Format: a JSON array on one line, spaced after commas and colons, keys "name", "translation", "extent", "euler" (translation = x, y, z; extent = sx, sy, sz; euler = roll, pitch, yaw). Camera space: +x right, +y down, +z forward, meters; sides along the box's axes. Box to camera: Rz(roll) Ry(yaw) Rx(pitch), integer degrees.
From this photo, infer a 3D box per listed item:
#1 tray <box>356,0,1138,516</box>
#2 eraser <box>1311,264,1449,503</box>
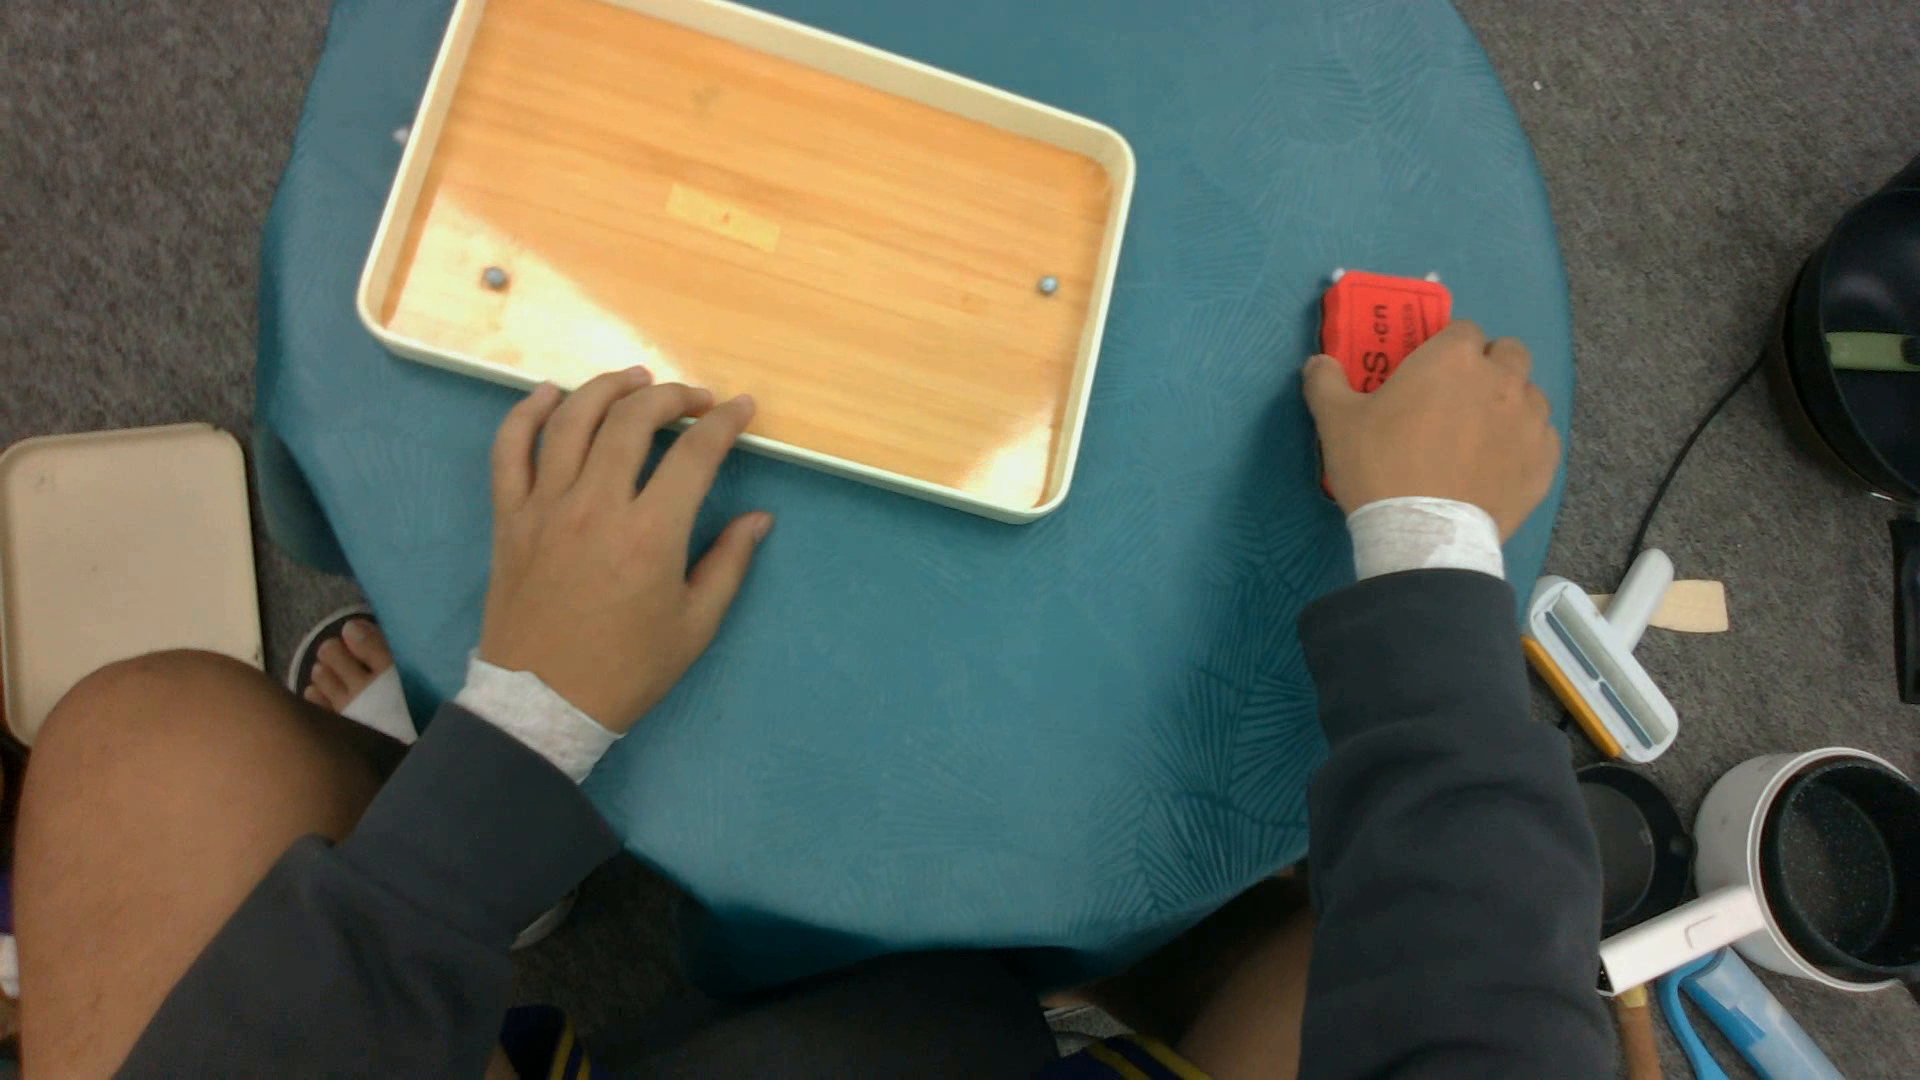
[{"name": "tray", "translation": [-0.081, -0.136, 0.597], "extent": [0.300, 0.027, 0.192], "euler": [16, 77, -9]}, {"name": "eraser", "translation": [0.198, -0.073, 0.649], "extent": [0.059, 0.023, 0.108], "euler": [7, 80, -11]}]
